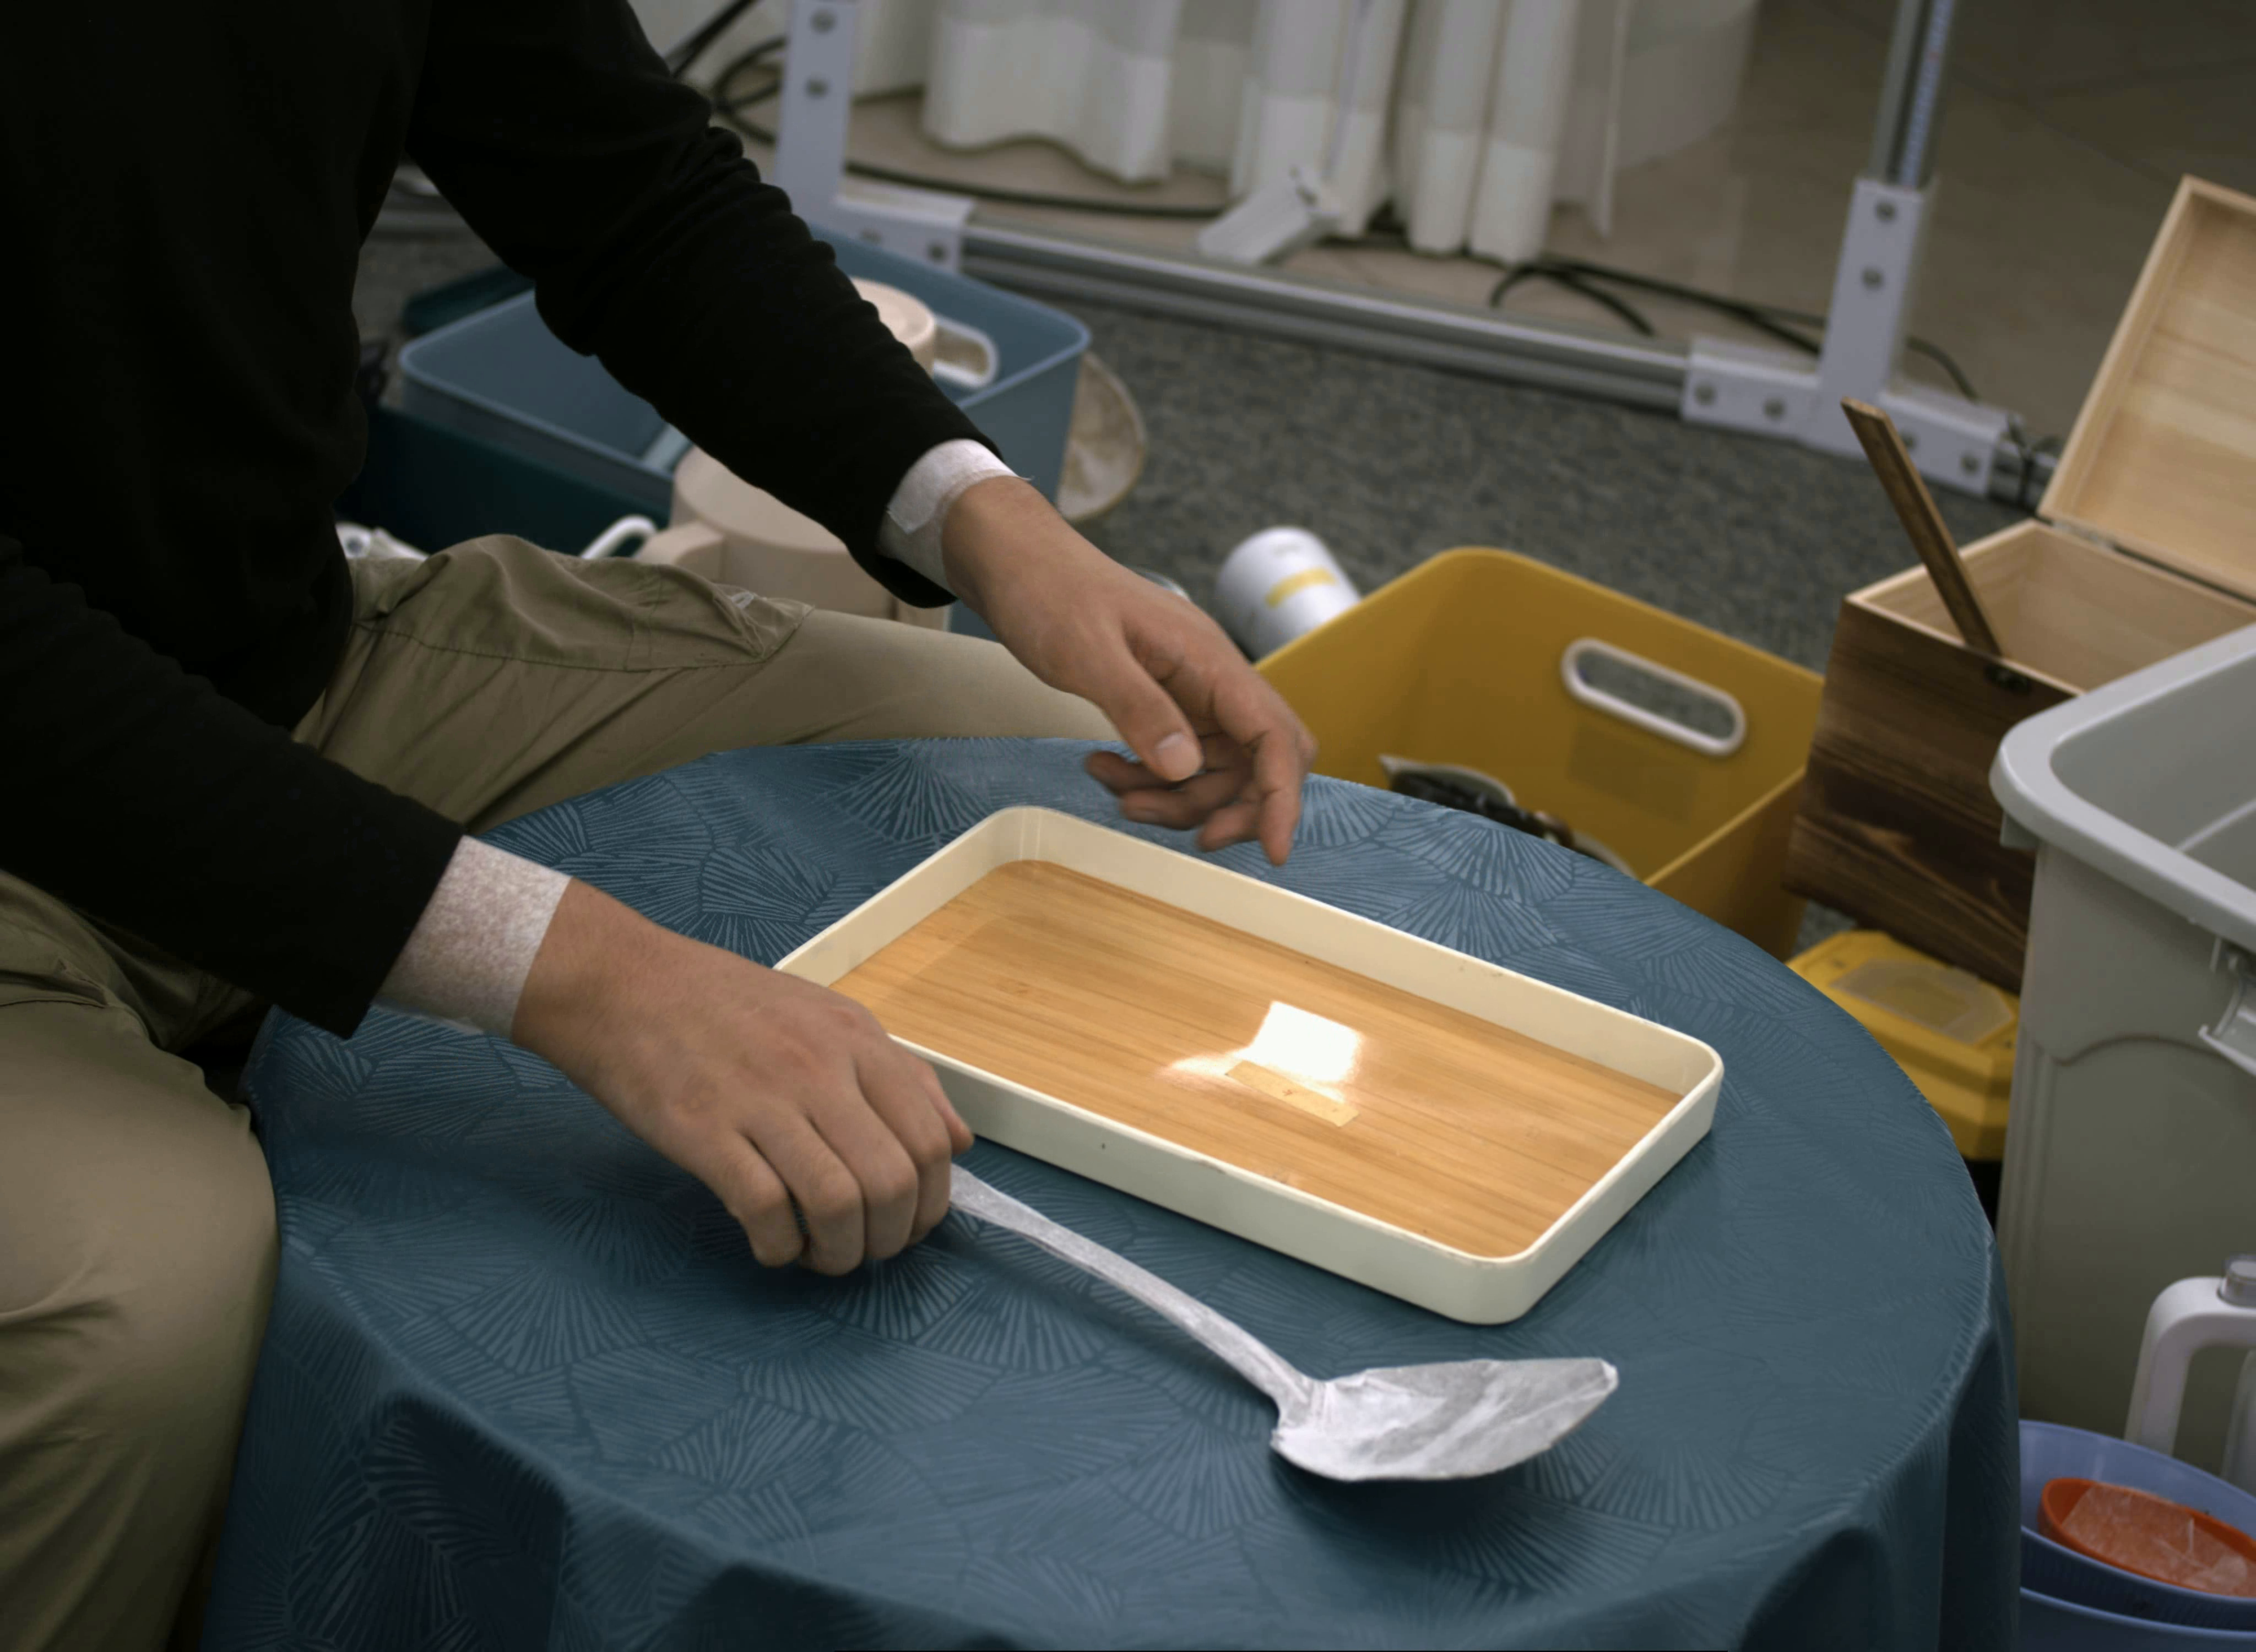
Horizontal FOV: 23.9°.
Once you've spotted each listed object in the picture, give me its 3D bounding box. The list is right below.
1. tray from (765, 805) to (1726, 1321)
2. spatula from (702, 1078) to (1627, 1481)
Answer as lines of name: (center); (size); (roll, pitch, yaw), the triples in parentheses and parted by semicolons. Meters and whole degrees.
tray: (0.041, 0.079, 1.870); (0.301, 0.027, 0.191); (20, 30, 24)
spatula: (-0.008, 0.138, 1.729); (0.367, 0.044, 0.098); (24, 32, 31)
